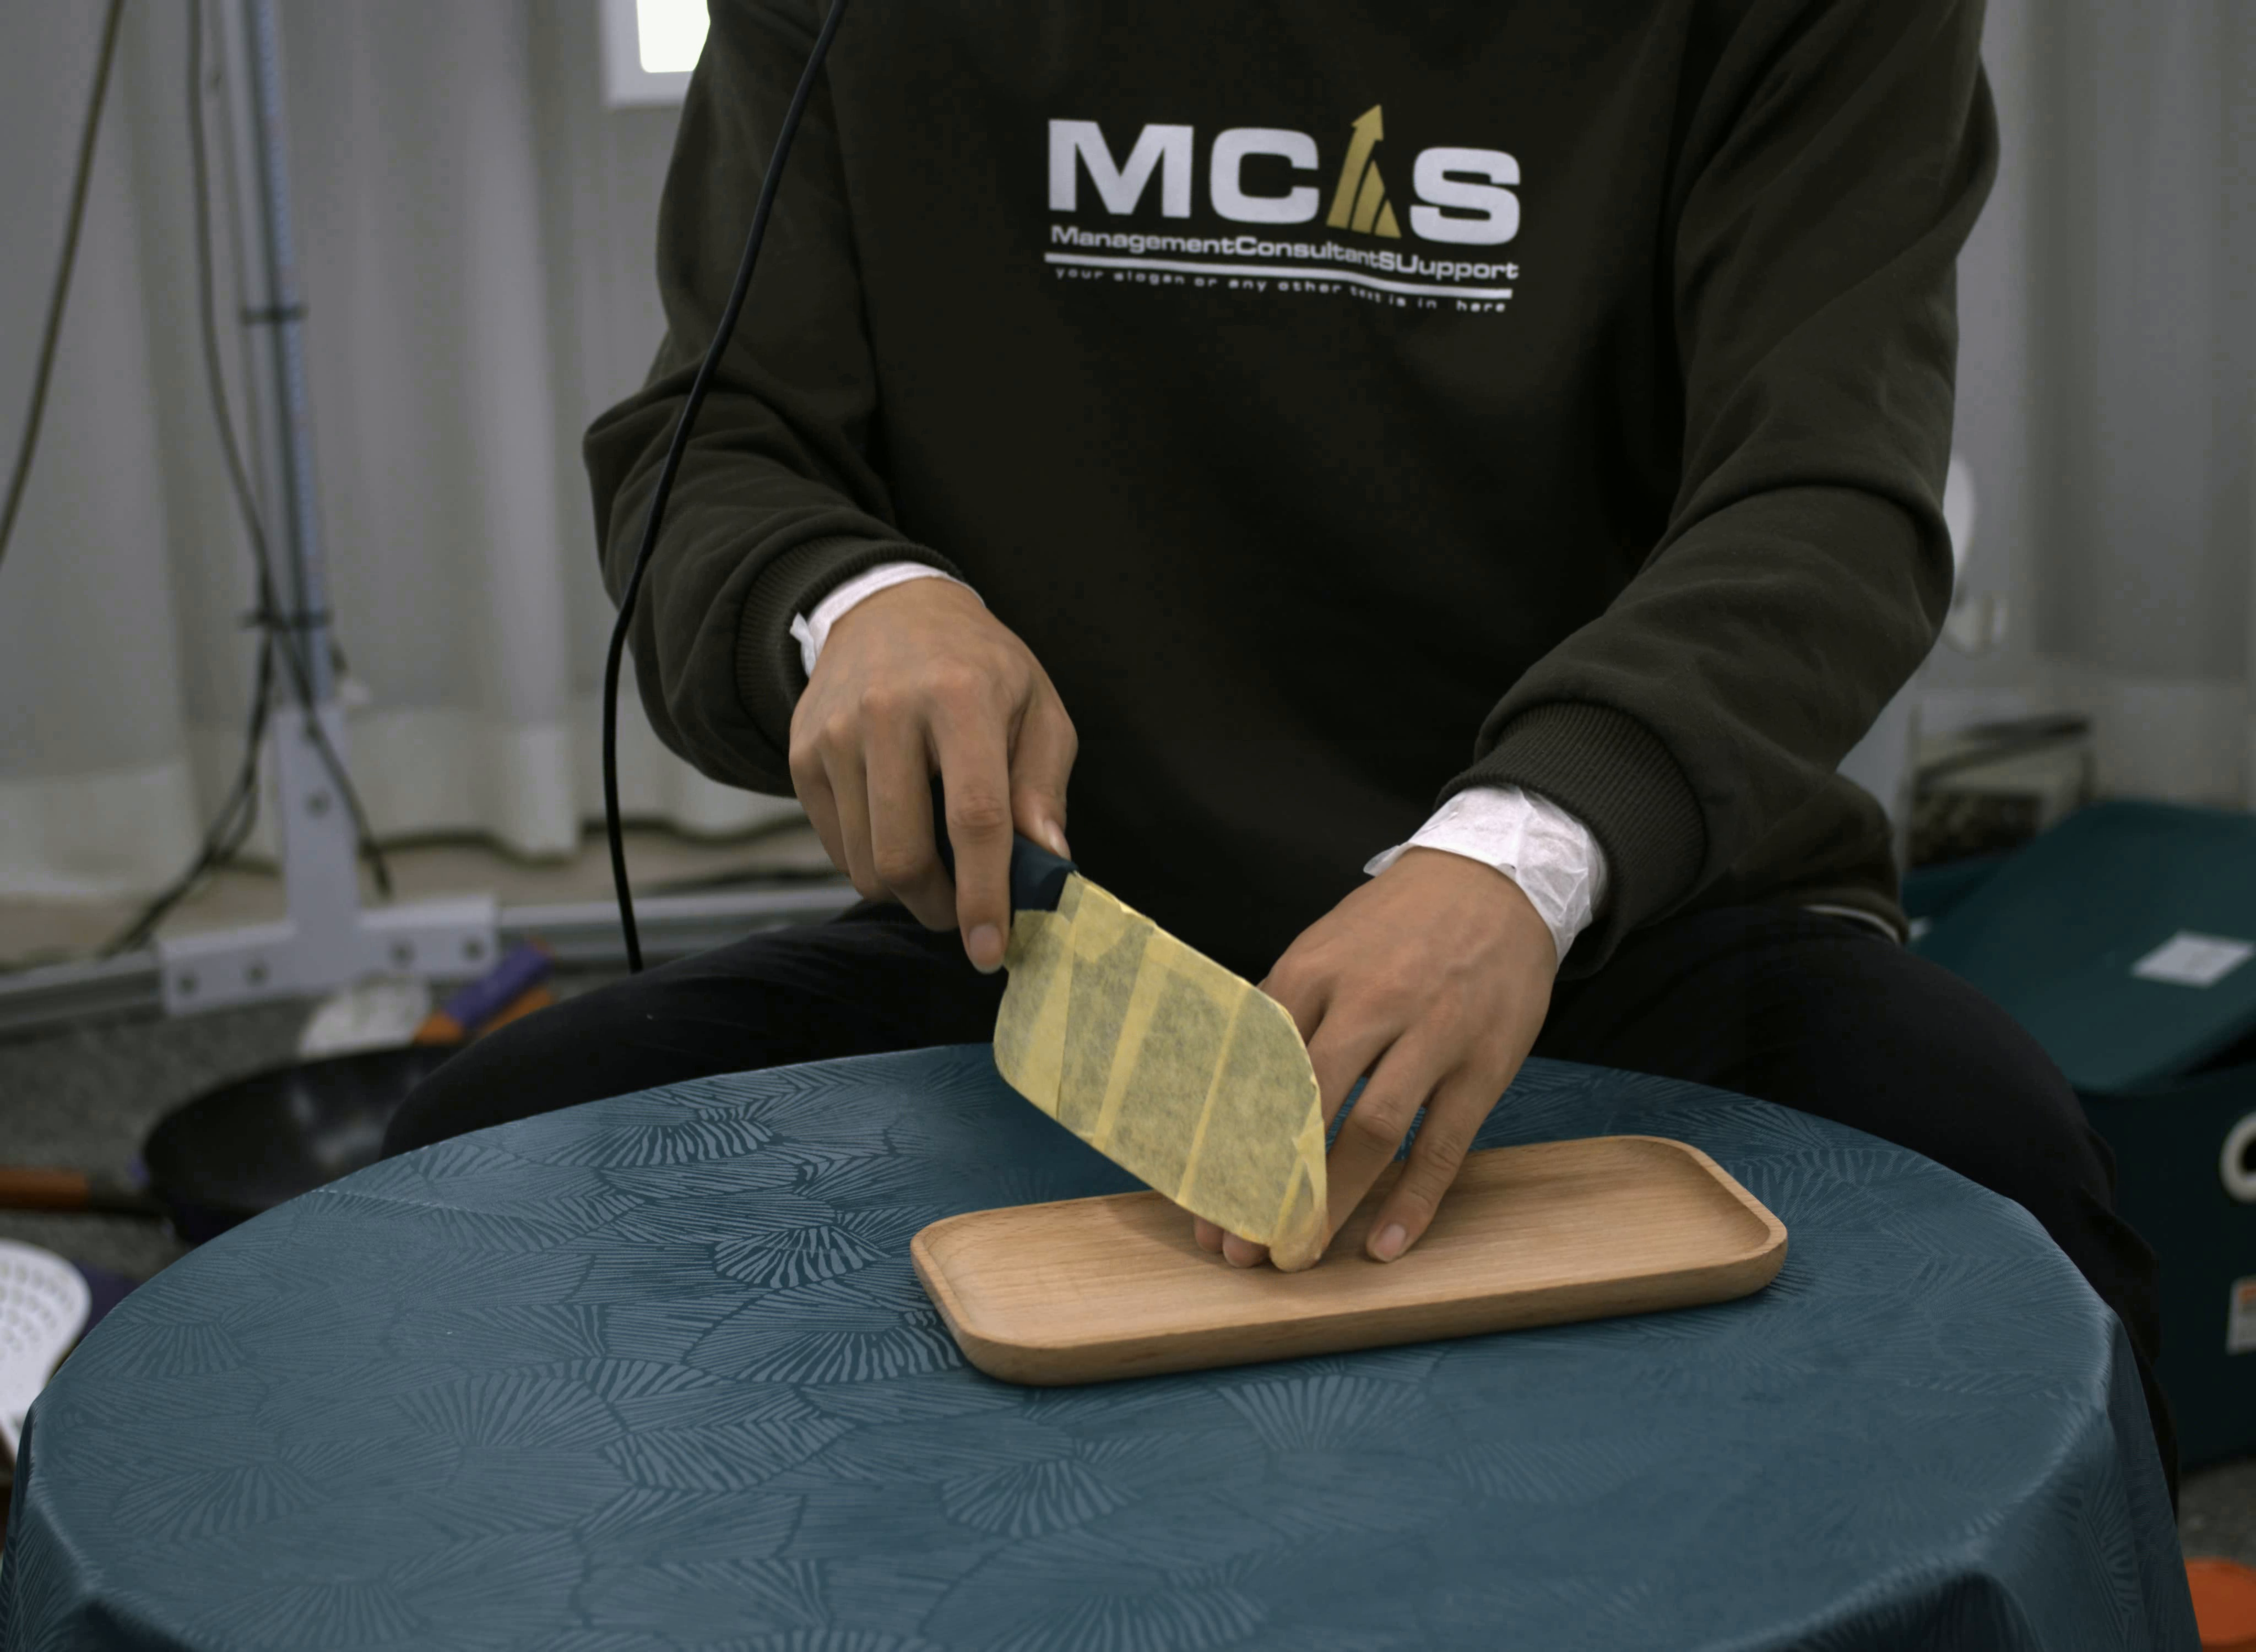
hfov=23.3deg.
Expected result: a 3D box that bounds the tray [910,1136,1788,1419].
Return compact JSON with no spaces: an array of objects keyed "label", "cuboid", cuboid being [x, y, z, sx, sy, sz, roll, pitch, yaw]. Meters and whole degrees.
[{"label":"tray","cuboid":[0.065,0.133,1.621,0.250,0.023,0.131,-9,13,-11]}]

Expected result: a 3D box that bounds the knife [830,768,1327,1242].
[{"label":"knife","cuboid":[-0.019,0.051,1.689,0.027,0.081,0.293,11,16,-37]}]
